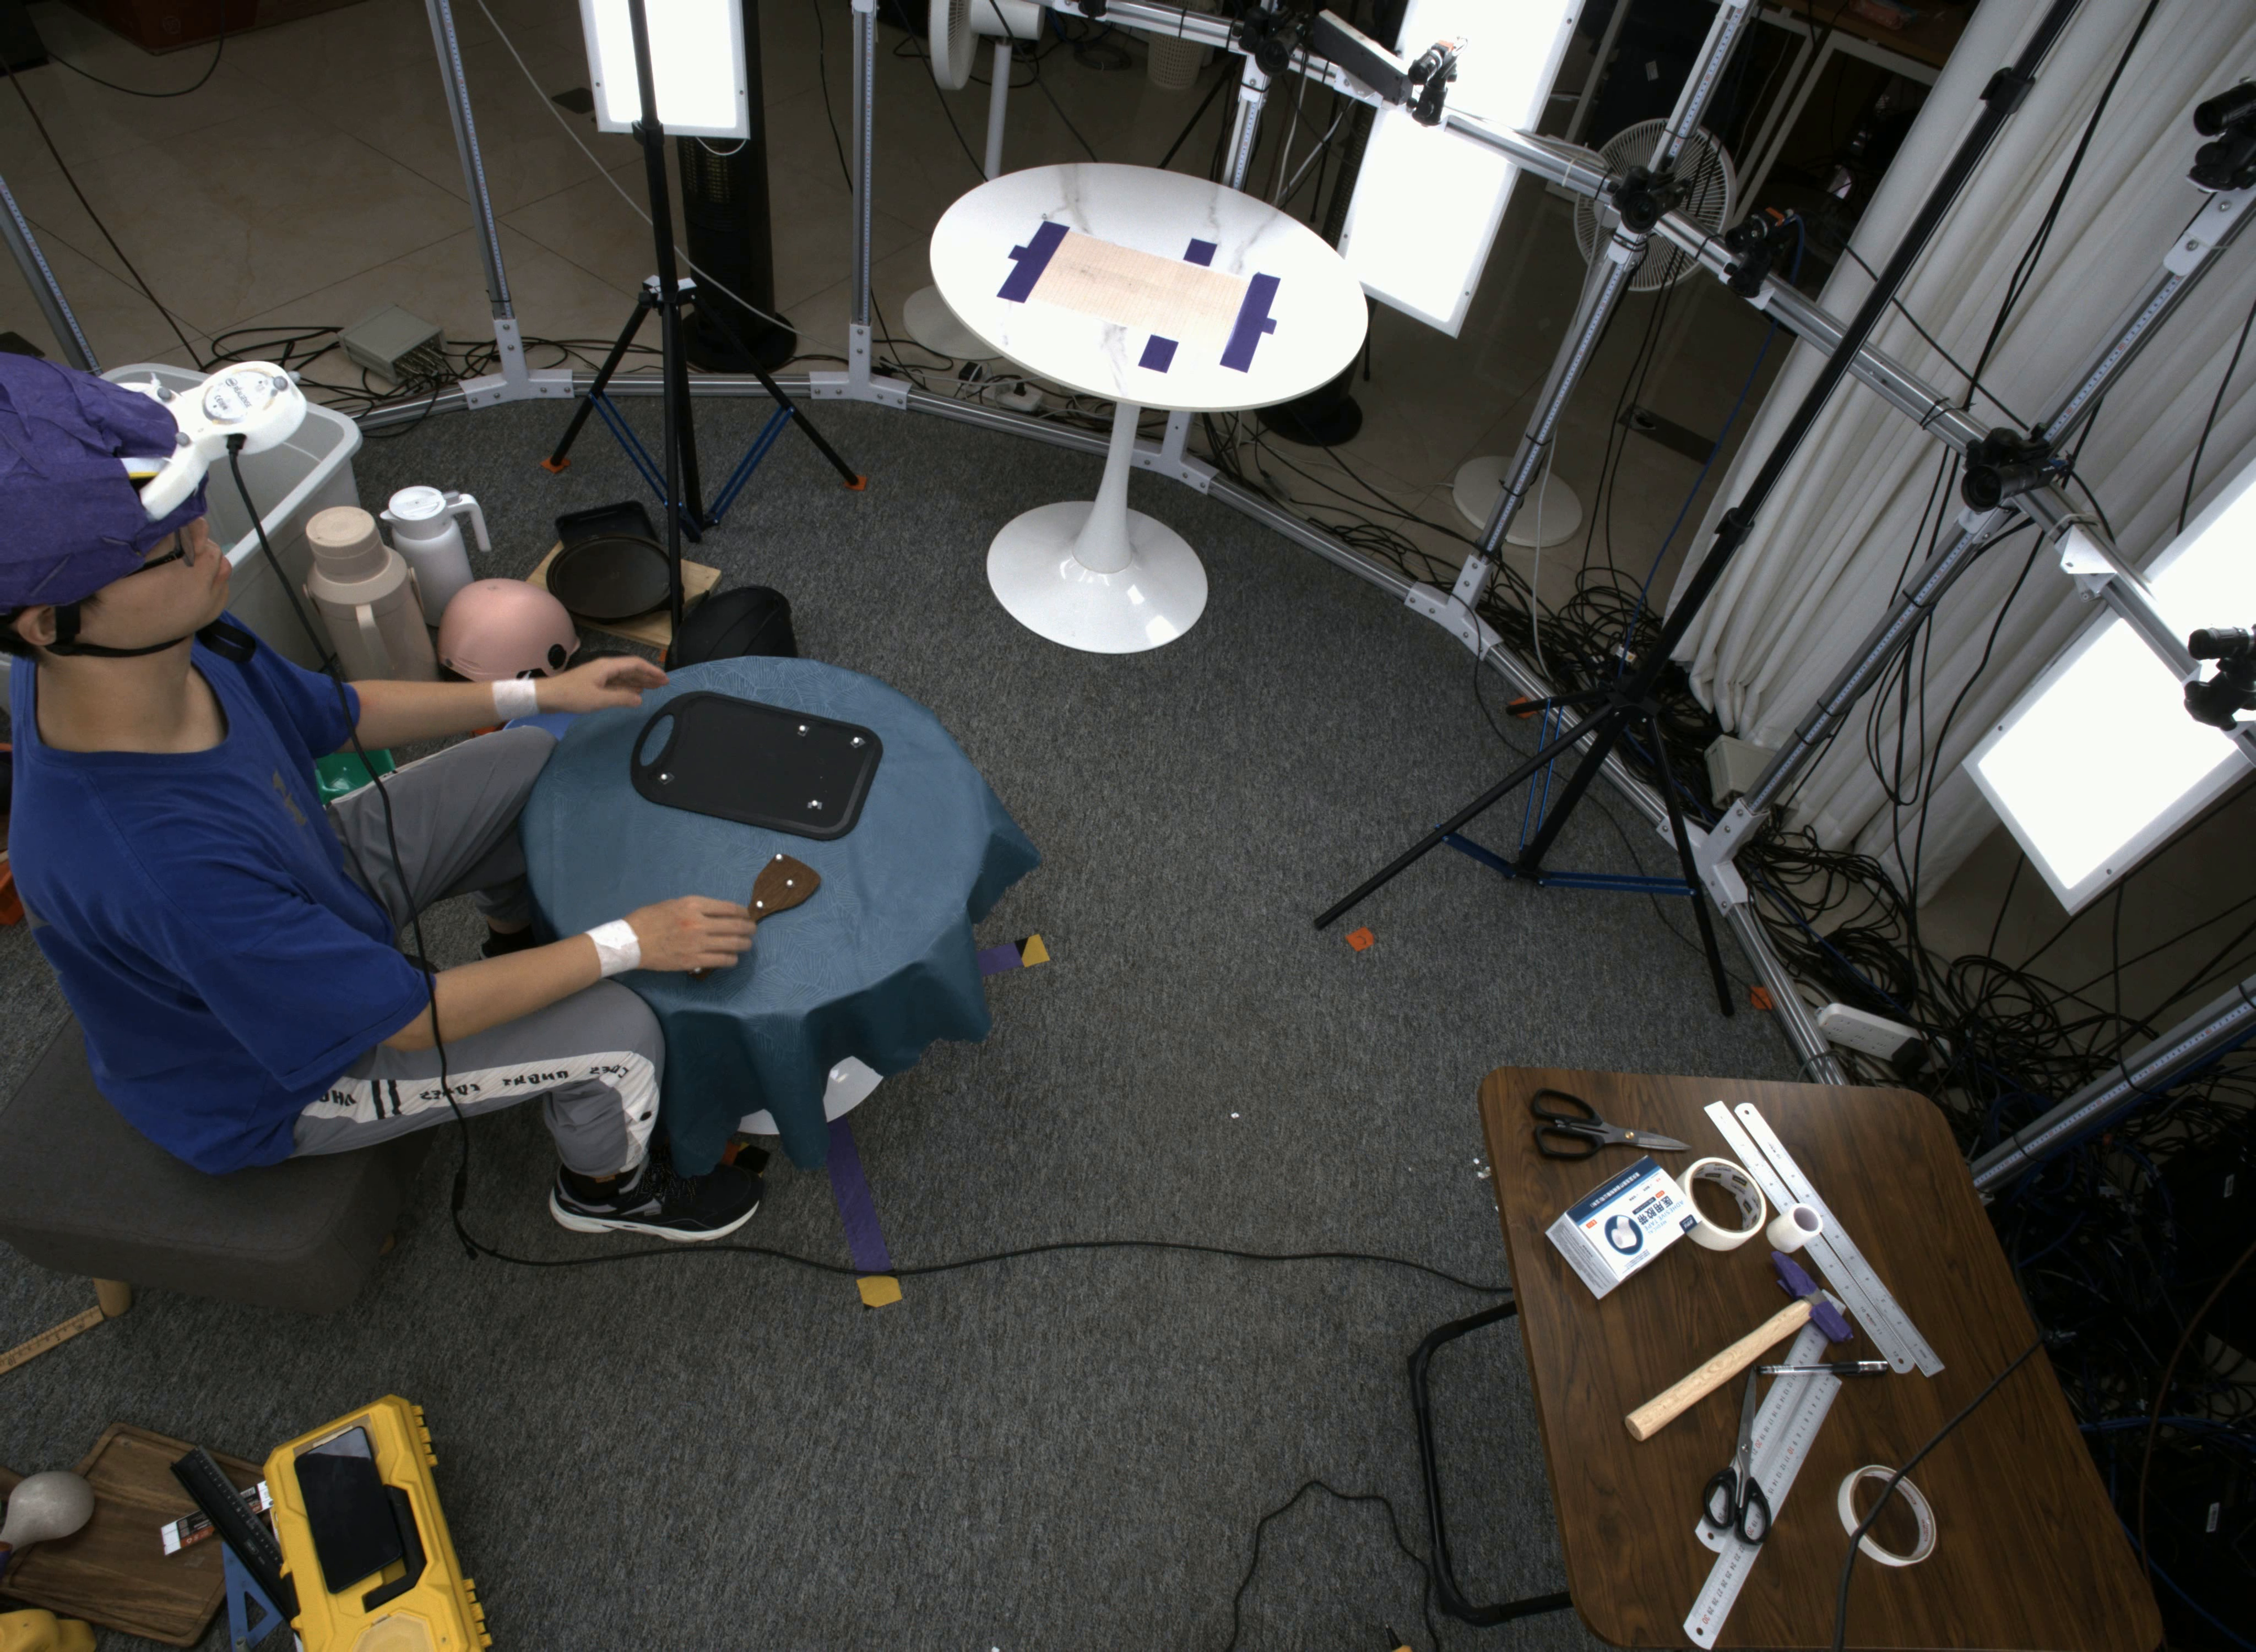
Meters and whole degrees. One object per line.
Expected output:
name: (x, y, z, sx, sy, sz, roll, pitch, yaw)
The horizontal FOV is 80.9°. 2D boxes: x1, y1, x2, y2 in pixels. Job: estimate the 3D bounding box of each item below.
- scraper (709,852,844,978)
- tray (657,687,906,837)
scraper: (-0.450, 0.113, 1.638, 0.074, 0.011, 0.211, 32, 54, 11)
tray: (-0.482, -0.095, 1.784, 0.323, 0.010, 0.208, 14, 52, -3)
